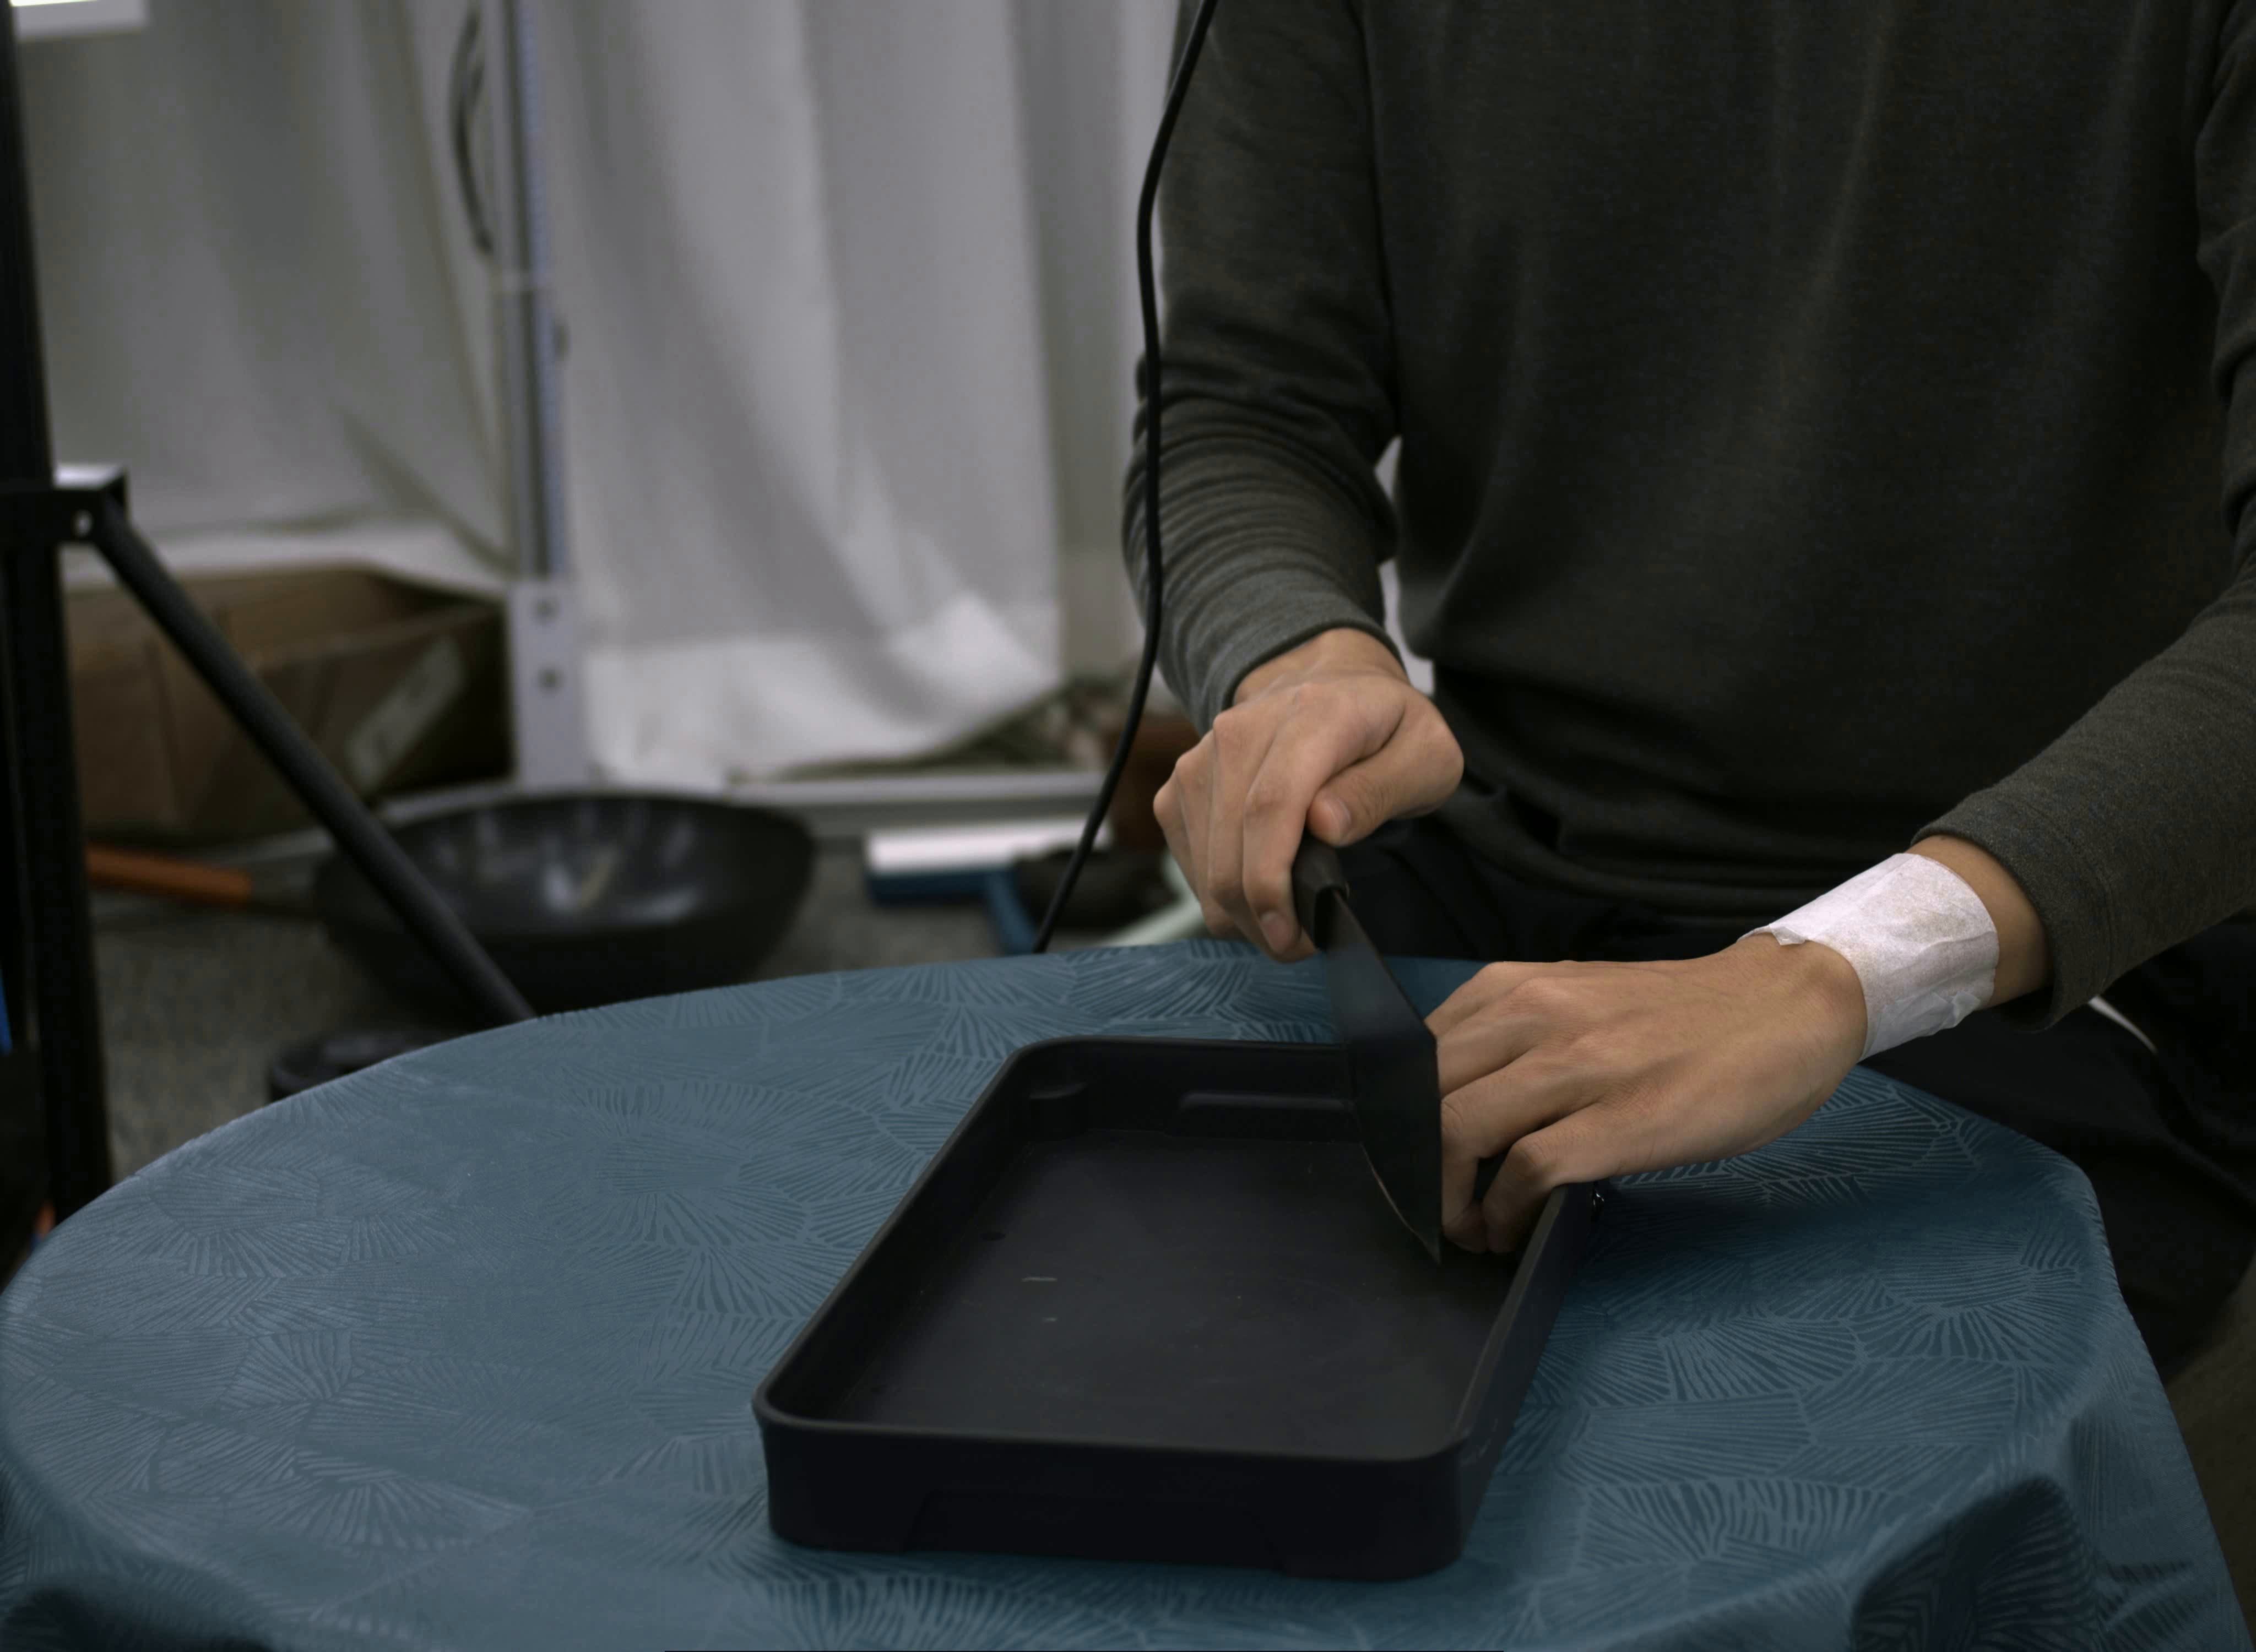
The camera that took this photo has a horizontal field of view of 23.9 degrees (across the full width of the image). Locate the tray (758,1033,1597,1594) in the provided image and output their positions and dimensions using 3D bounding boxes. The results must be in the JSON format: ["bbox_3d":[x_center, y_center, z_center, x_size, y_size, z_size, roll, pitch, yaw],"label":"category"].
[{"bbox_3d":[0.023,0.124,1.434,0.185,0.037,0.316,1,16,11],"label":"tray"}]

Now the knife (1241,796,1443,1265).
[{"bbox_3d":[0.063,0.050,1.519,0.020,0.081,0.305,-2,18,-7],"label":"knife"}]
